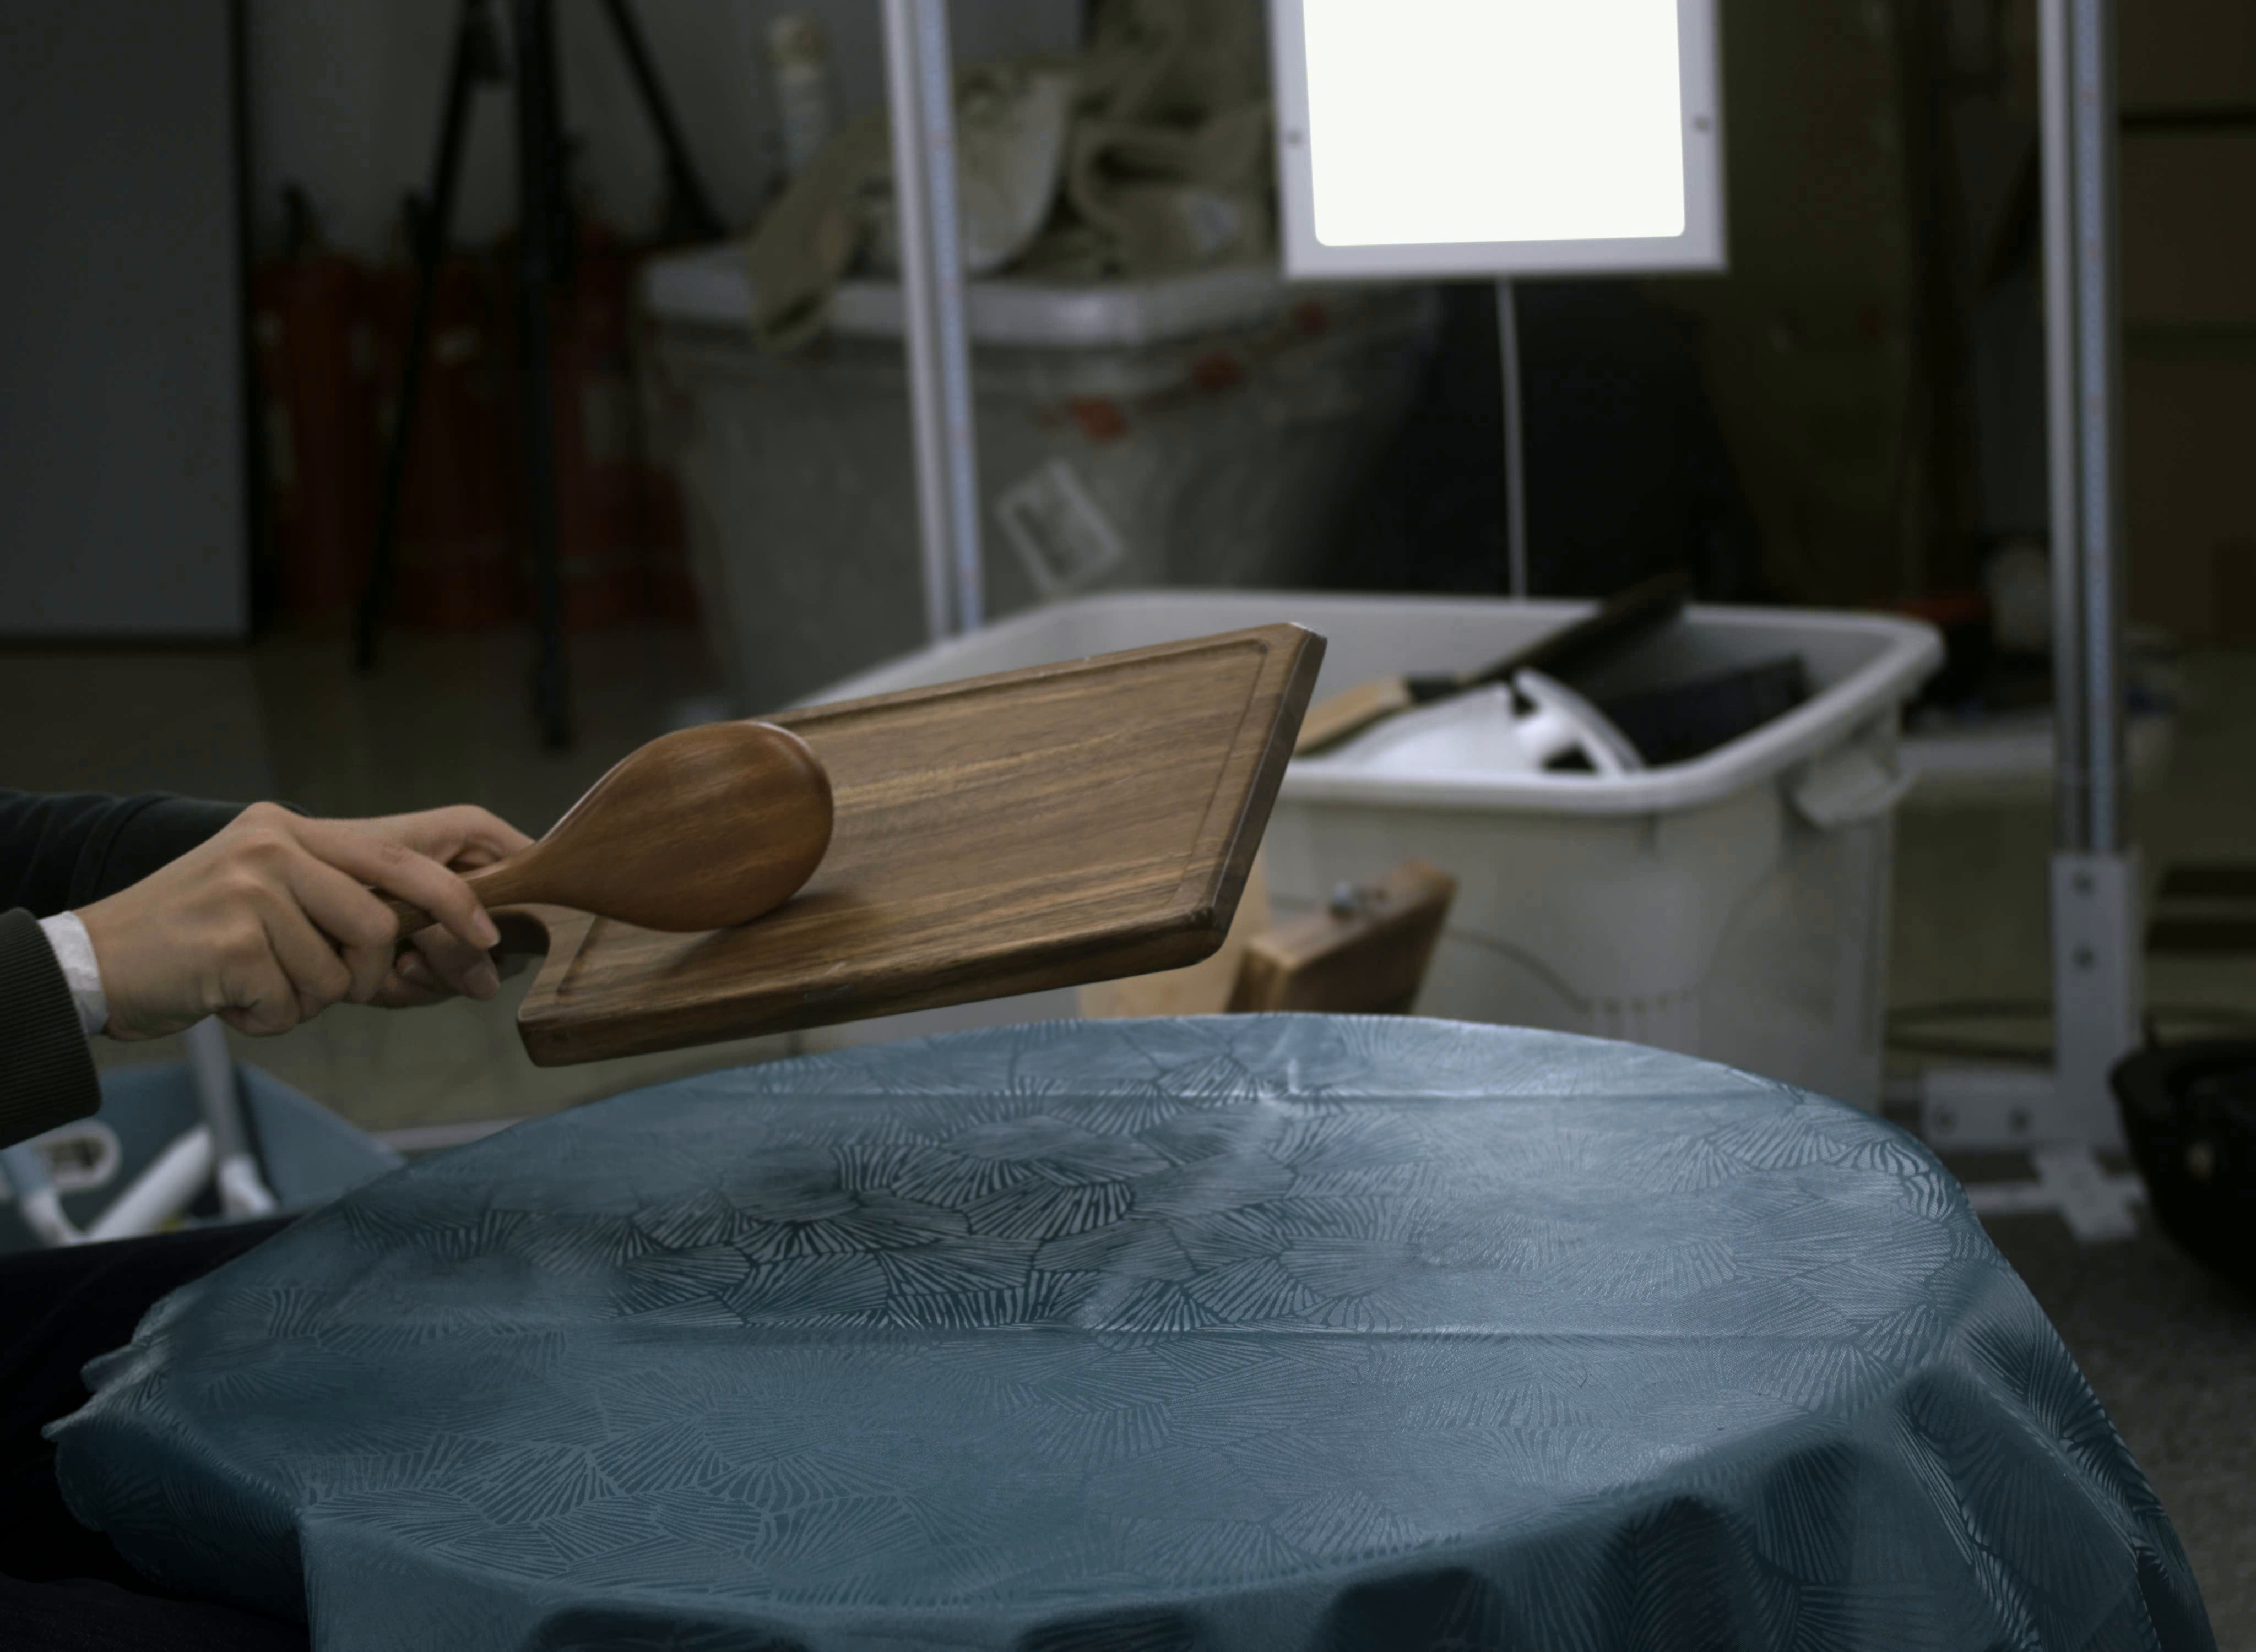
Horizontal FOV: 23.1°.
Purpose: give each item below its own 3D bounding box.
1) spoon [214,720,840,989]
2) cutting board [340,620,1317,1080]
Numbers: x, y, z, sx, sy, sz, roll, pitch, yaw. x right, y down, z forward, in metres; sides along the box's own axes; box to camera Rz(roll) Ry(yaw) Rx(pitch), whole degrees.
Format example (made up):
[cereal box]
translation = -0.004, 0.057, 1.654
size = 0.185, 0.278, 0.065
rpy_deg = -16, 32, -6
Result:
[spoon]
translation = -0.197, 0.017, 1.832
size = 0.213, 0.076, 0.017
rpy_deg = -15, 29, -11
[cutting board]
translation = -0.114, 0.014, 1.899
size = 0.357, 0.023, 0.198
rpy_deg = -10, 30, 21
